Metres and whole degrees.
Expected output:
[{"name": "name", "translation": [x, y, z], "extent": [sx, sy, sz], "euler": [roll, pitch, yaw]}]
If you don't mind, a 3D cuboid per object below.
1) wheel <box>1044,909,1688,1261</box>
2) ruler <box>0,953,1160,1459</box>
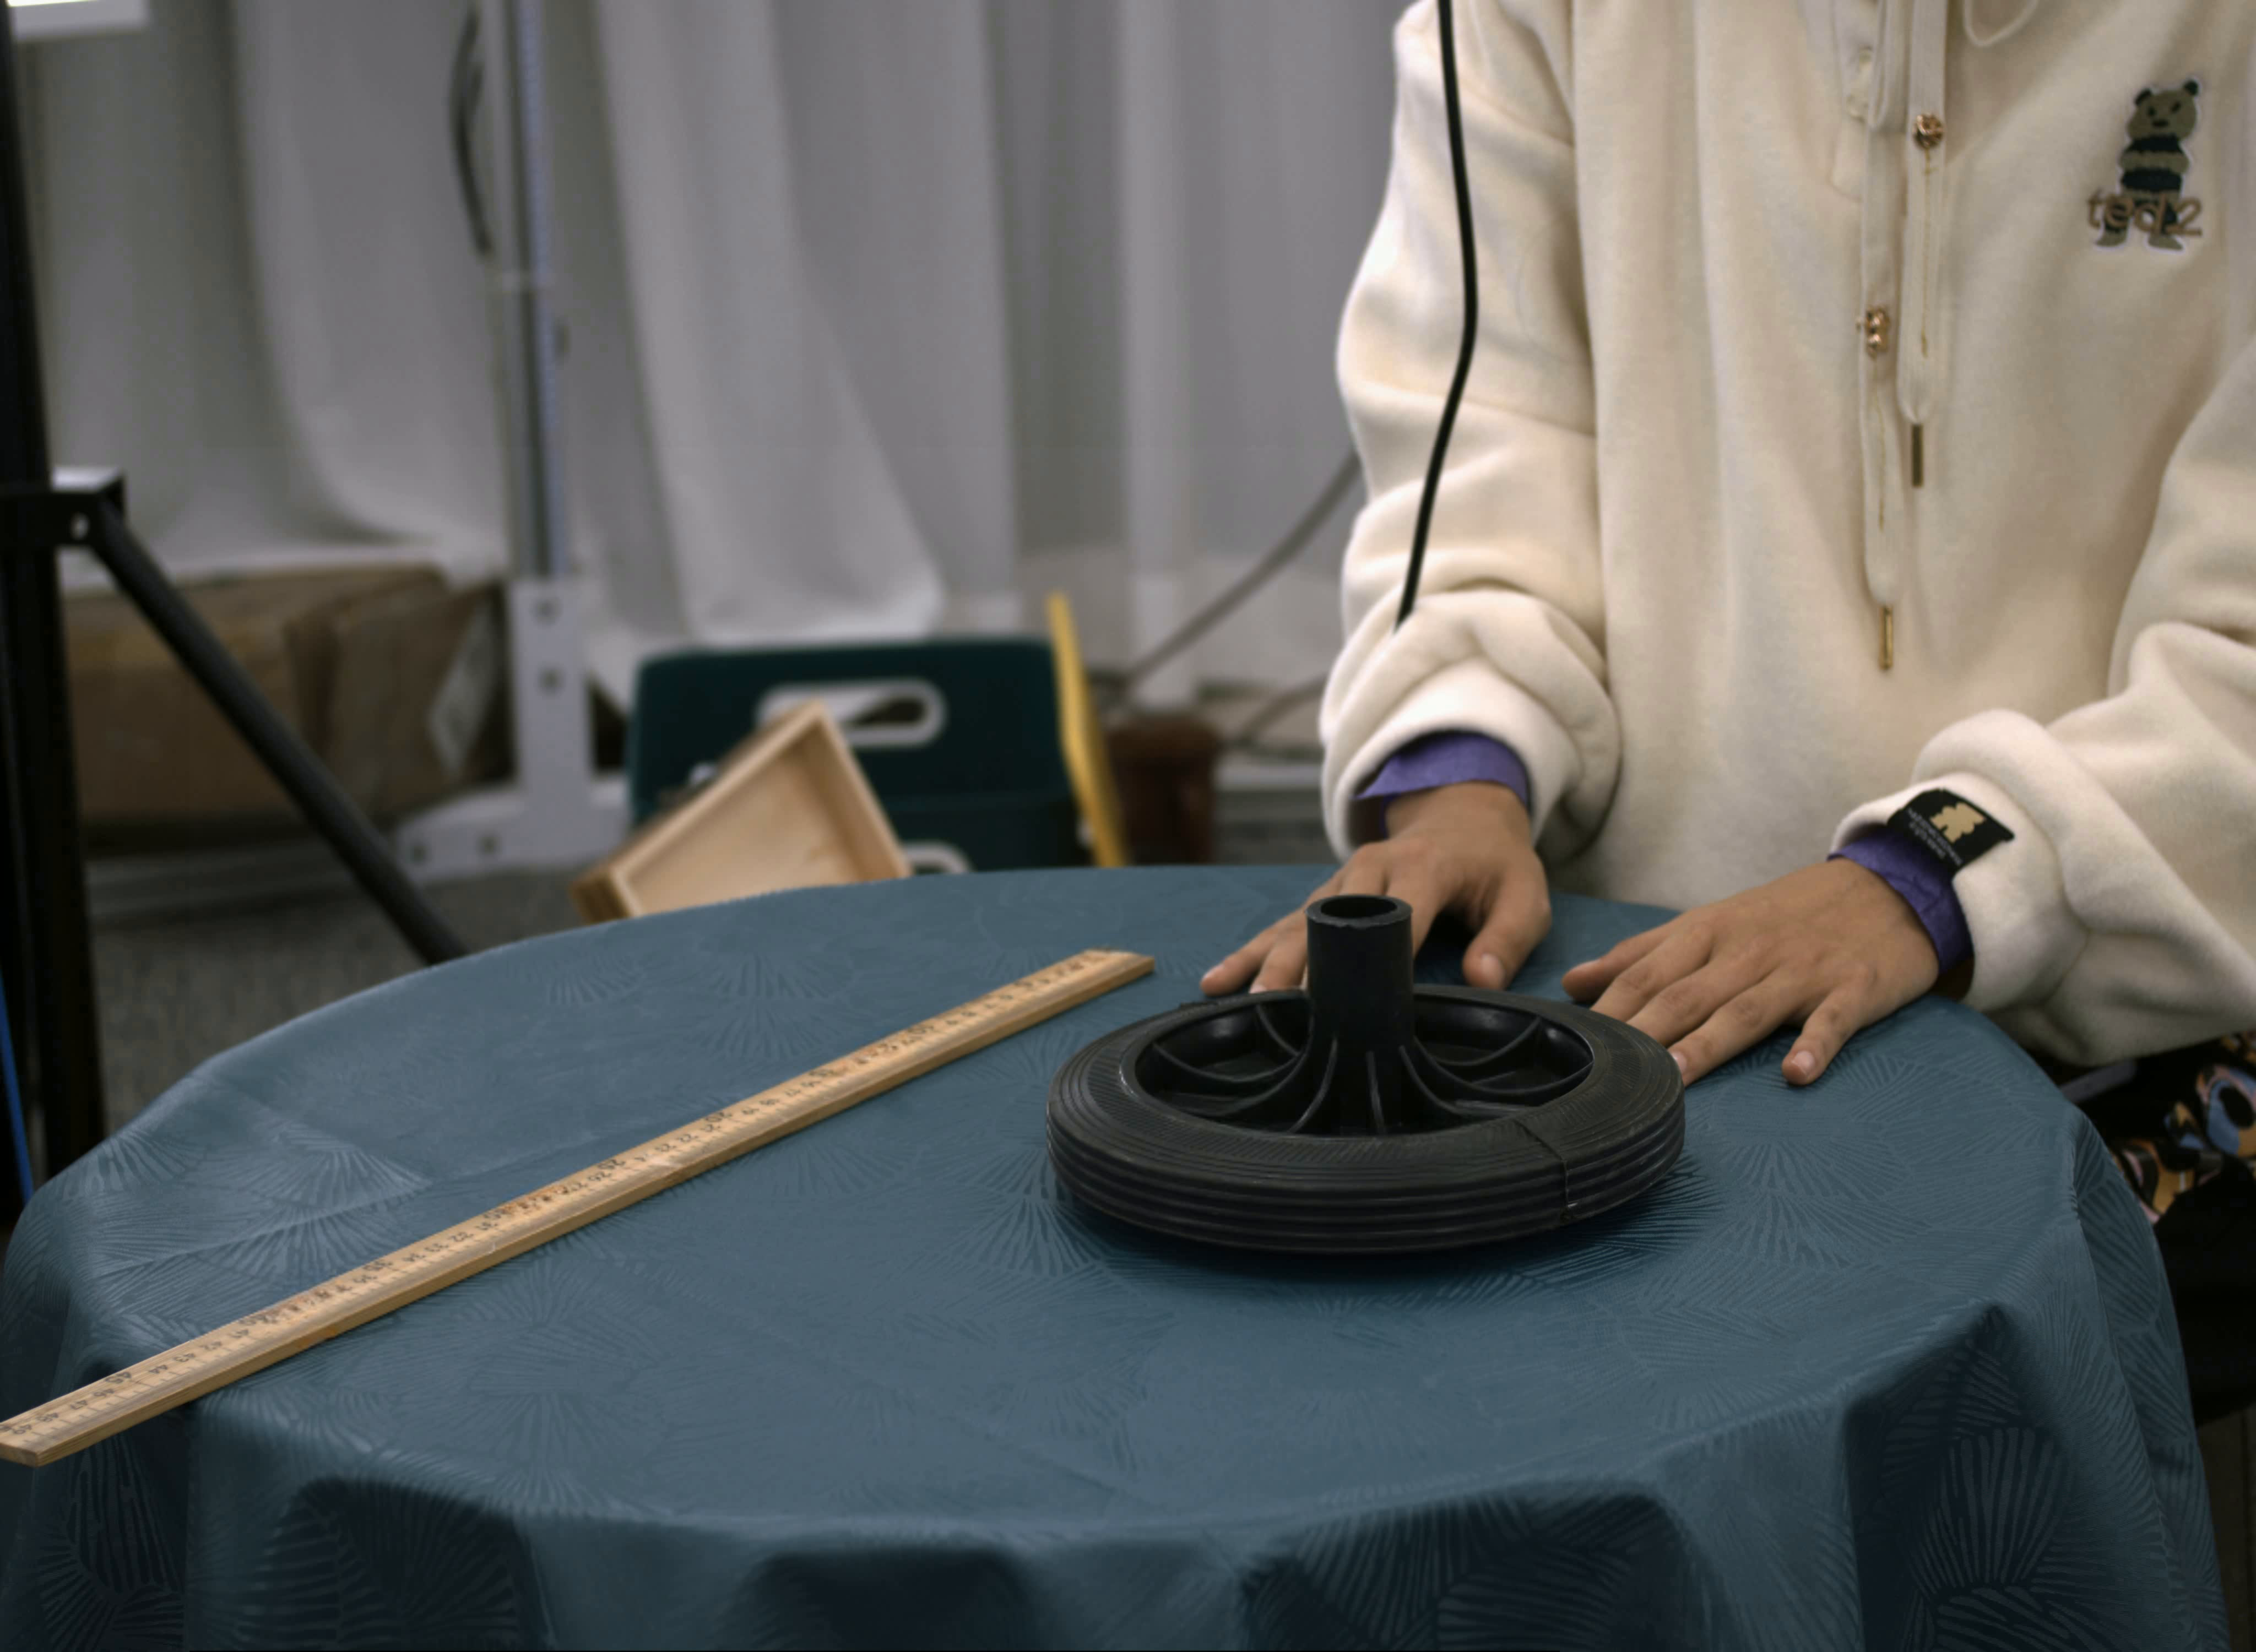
[{"name": "wheel", "translation": [0.069, 0.067, 1.552], "extent": [0.189, 0.079, 0.188], "euler": [-1, 16, 3]}, {"name": "ruler", "translation": [-0.147, 0.104, 1.587], "extent": [0.027, 0.006, 0.490], "euler": [8, 19, 37]}]
